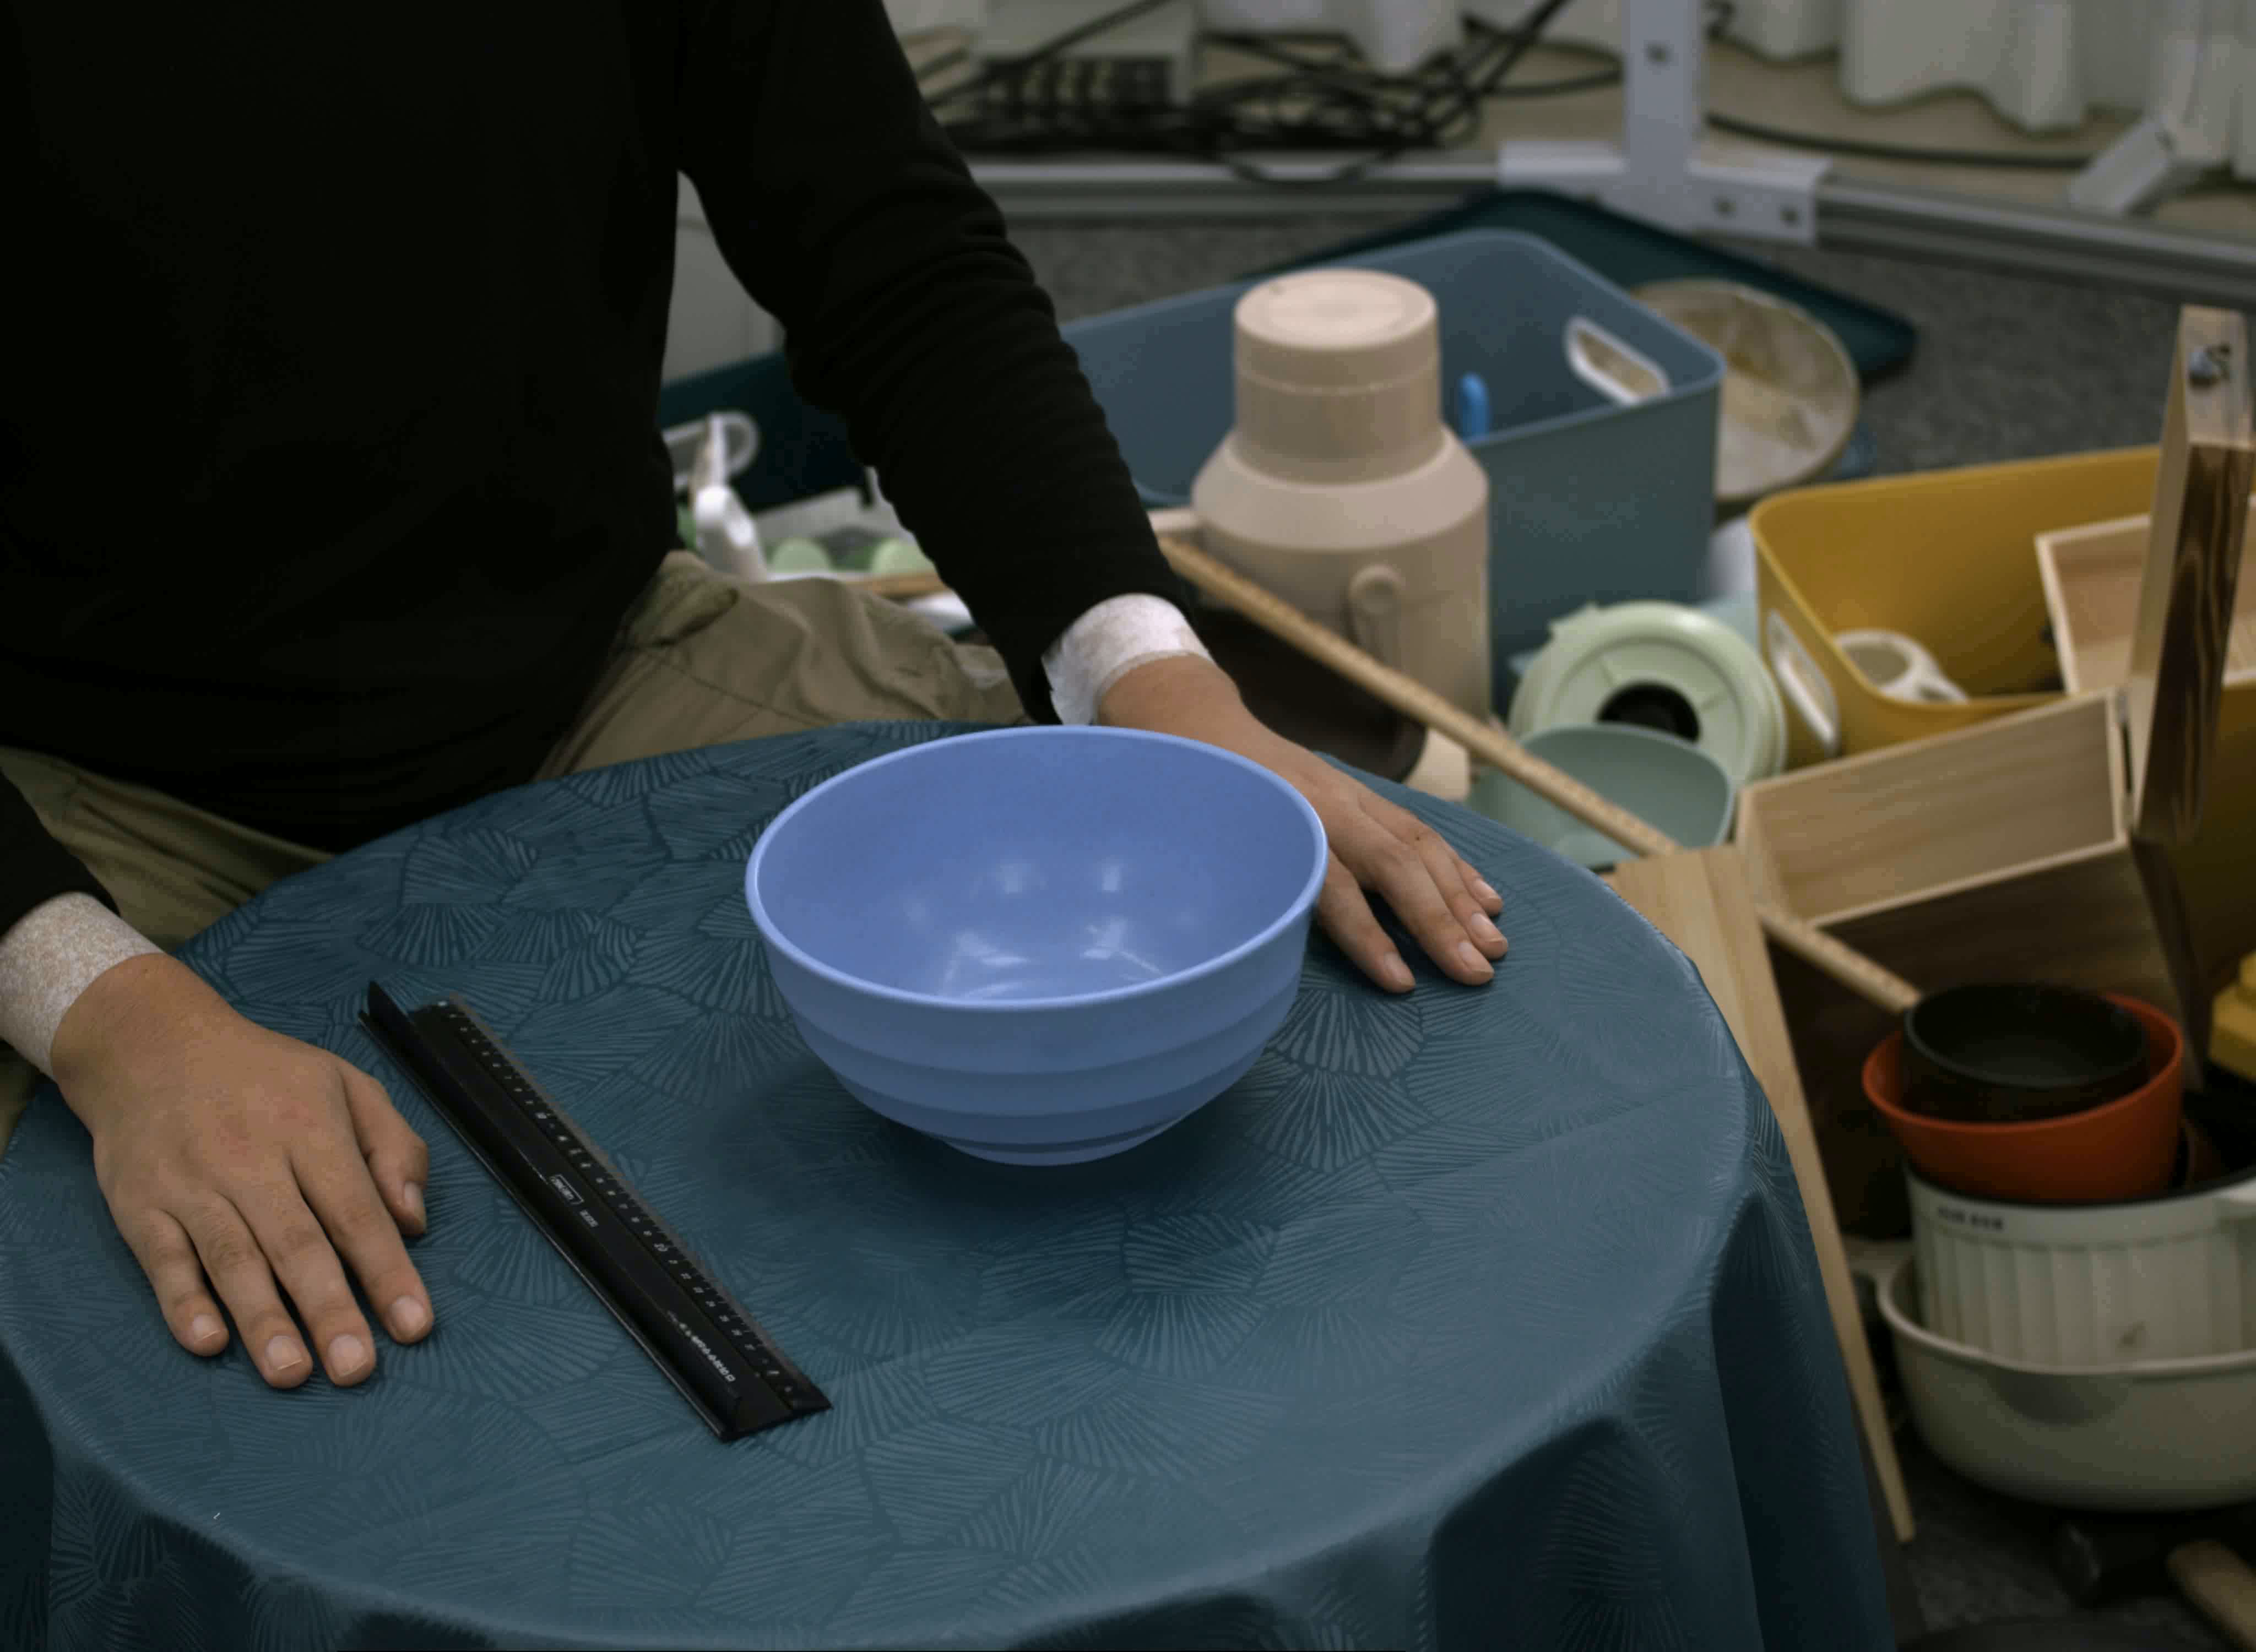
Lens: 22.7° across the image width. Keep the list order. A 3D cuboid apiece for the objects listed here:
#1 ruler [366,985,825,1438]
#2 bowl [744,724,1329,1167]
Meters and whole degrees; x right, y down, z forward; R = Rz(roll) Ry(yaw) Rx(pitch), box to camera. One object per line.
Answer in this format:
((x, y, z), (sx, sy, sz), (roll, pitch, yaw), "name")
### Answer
((-0.181, 0.120, 1.866), (0.039, 0.017, 0.314), (-12, 28, -25), "ruler")
((-0.029, 0.051, 1.897), (0.195, 0.094, 0.199), (-2, 27, 1), "bowl")
